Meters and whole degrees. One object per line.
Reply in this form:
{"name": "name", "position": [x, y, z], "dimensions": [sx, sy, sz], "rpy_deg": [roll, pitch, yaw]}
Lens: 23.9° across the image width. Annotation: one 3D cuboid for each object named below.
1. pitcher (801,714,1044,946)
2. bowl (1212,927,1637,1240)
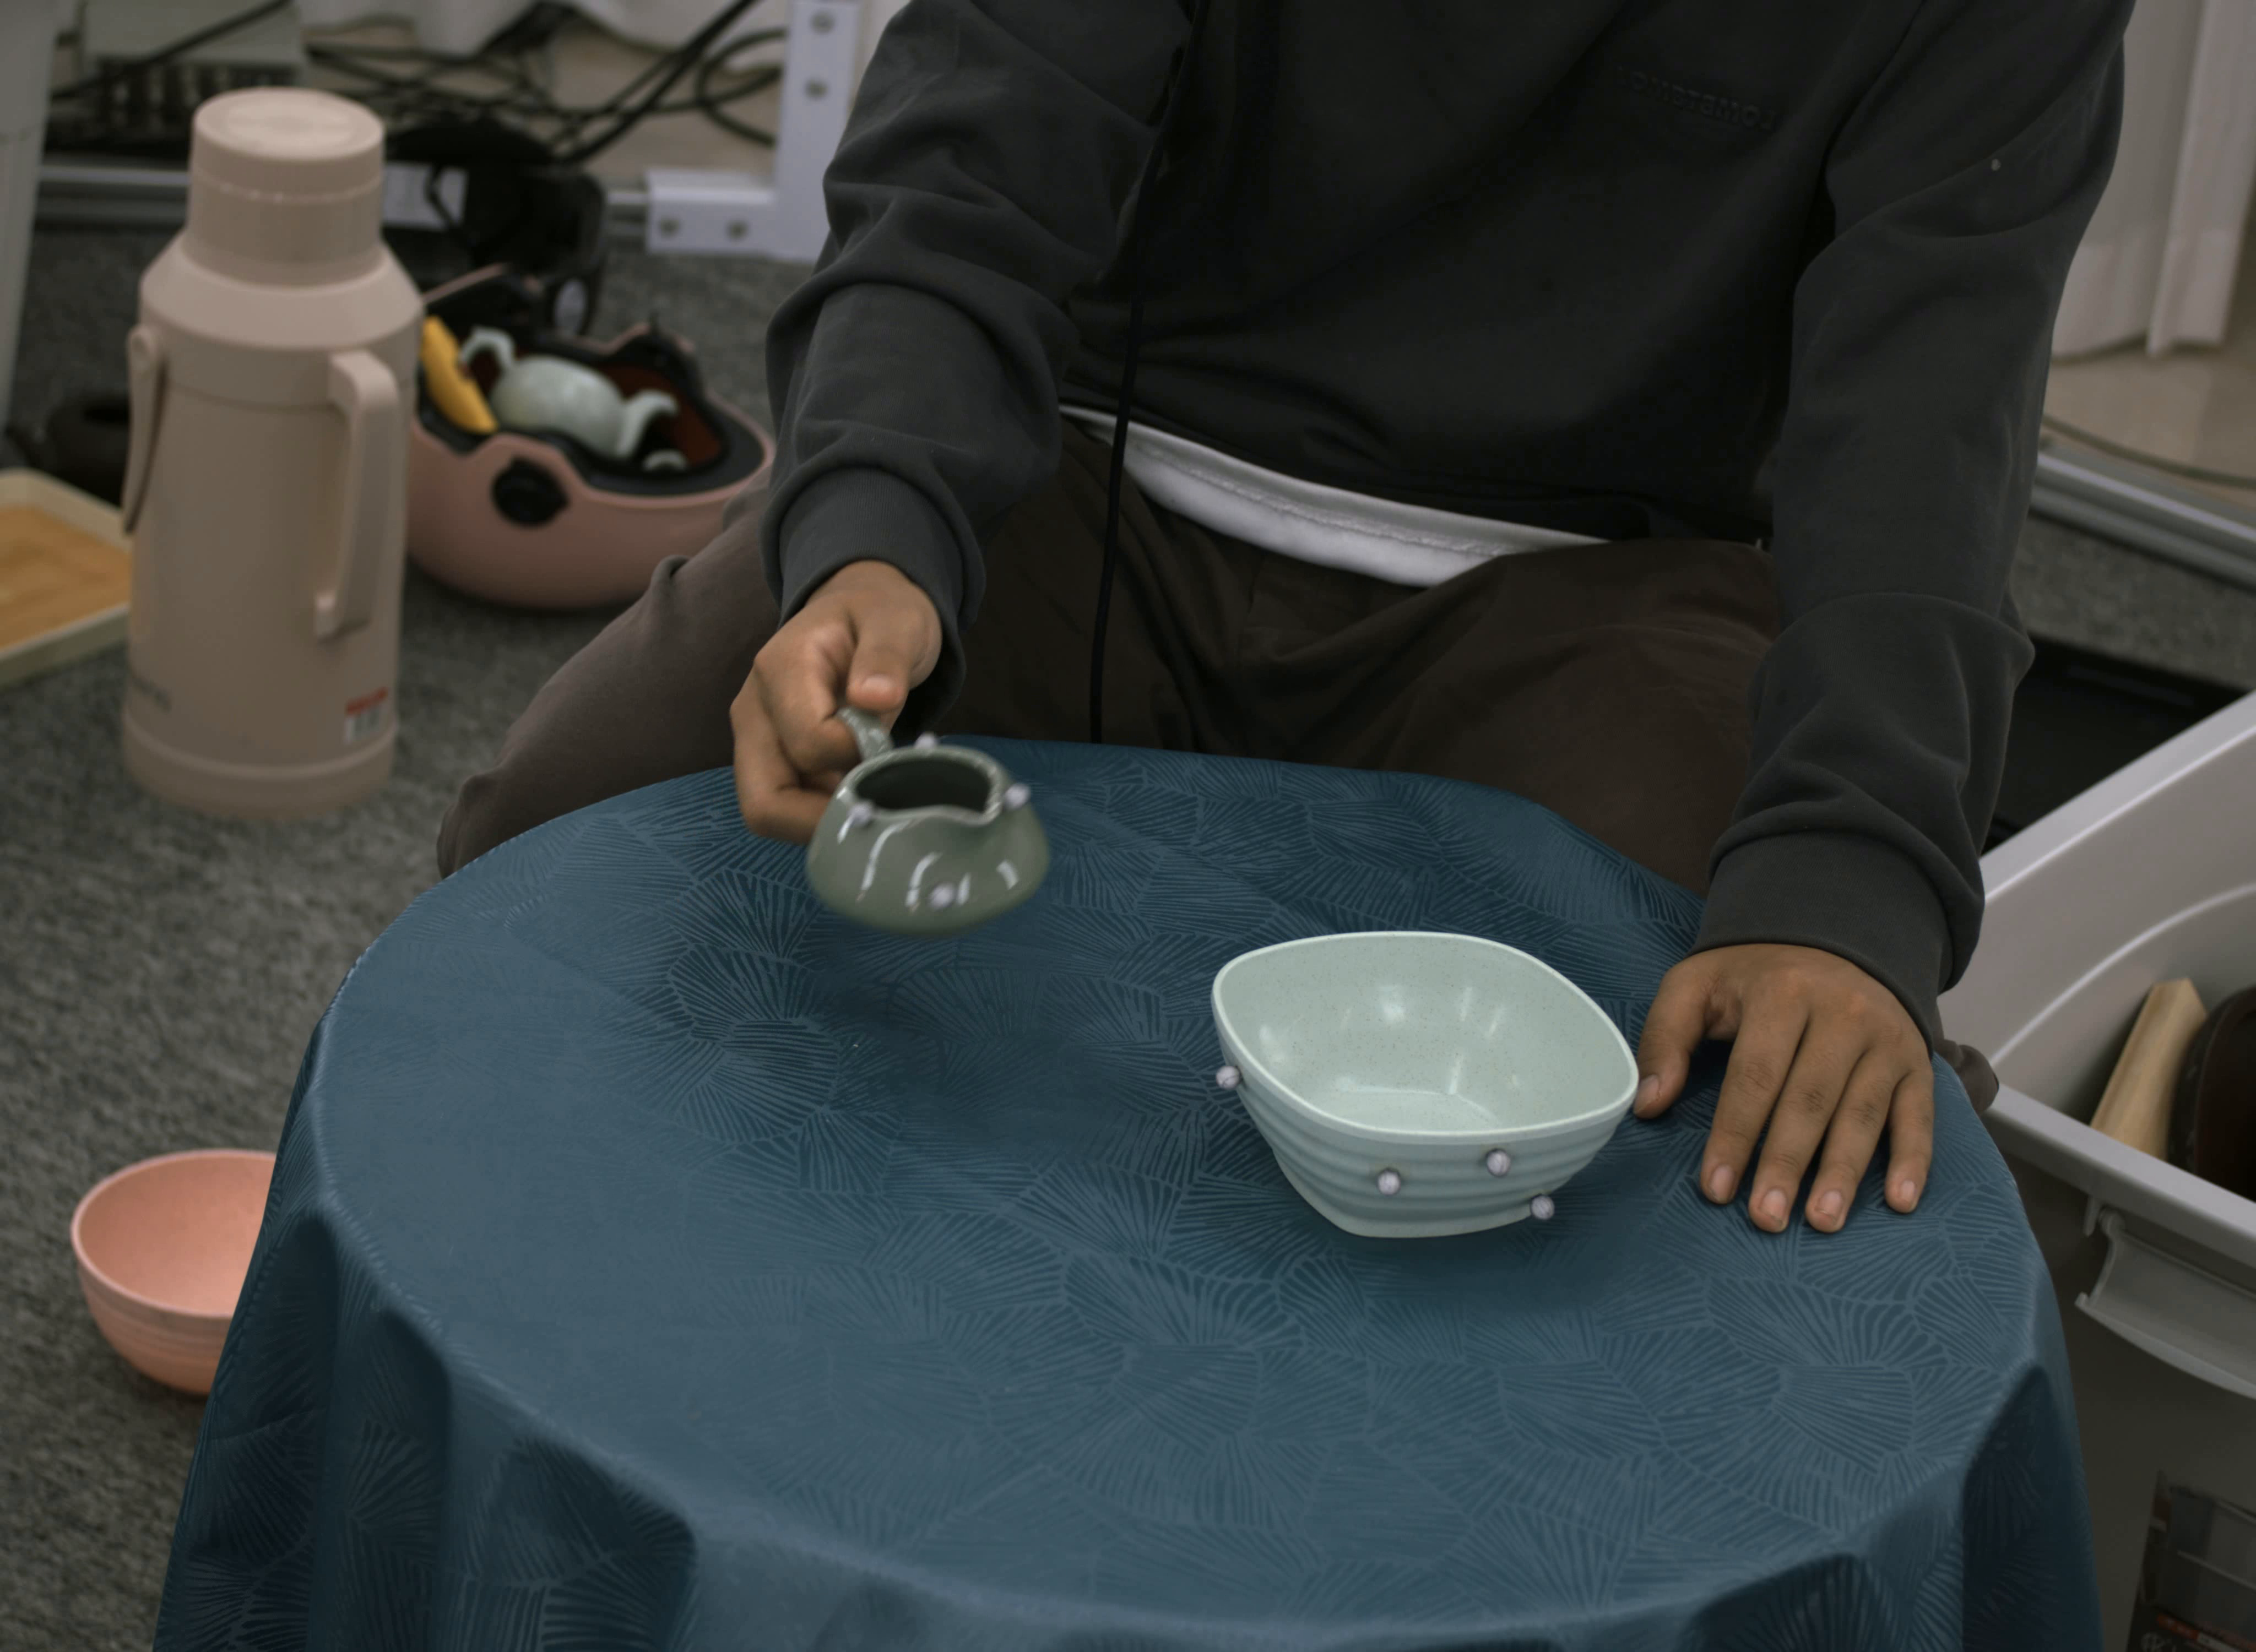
{"name": "pitcher", "position": [-0.075, 0.002, 1.841], "dimensions": [0.084, 0.056, 0.113], "rpy_deg": [-17, 29, -25]}
{"name": "bowl", "position": [0.098, 0.094, 1.826], "dimensions": [0.151, 0.058, 0.152], "rpy_deg": [5, 28, -3]}
